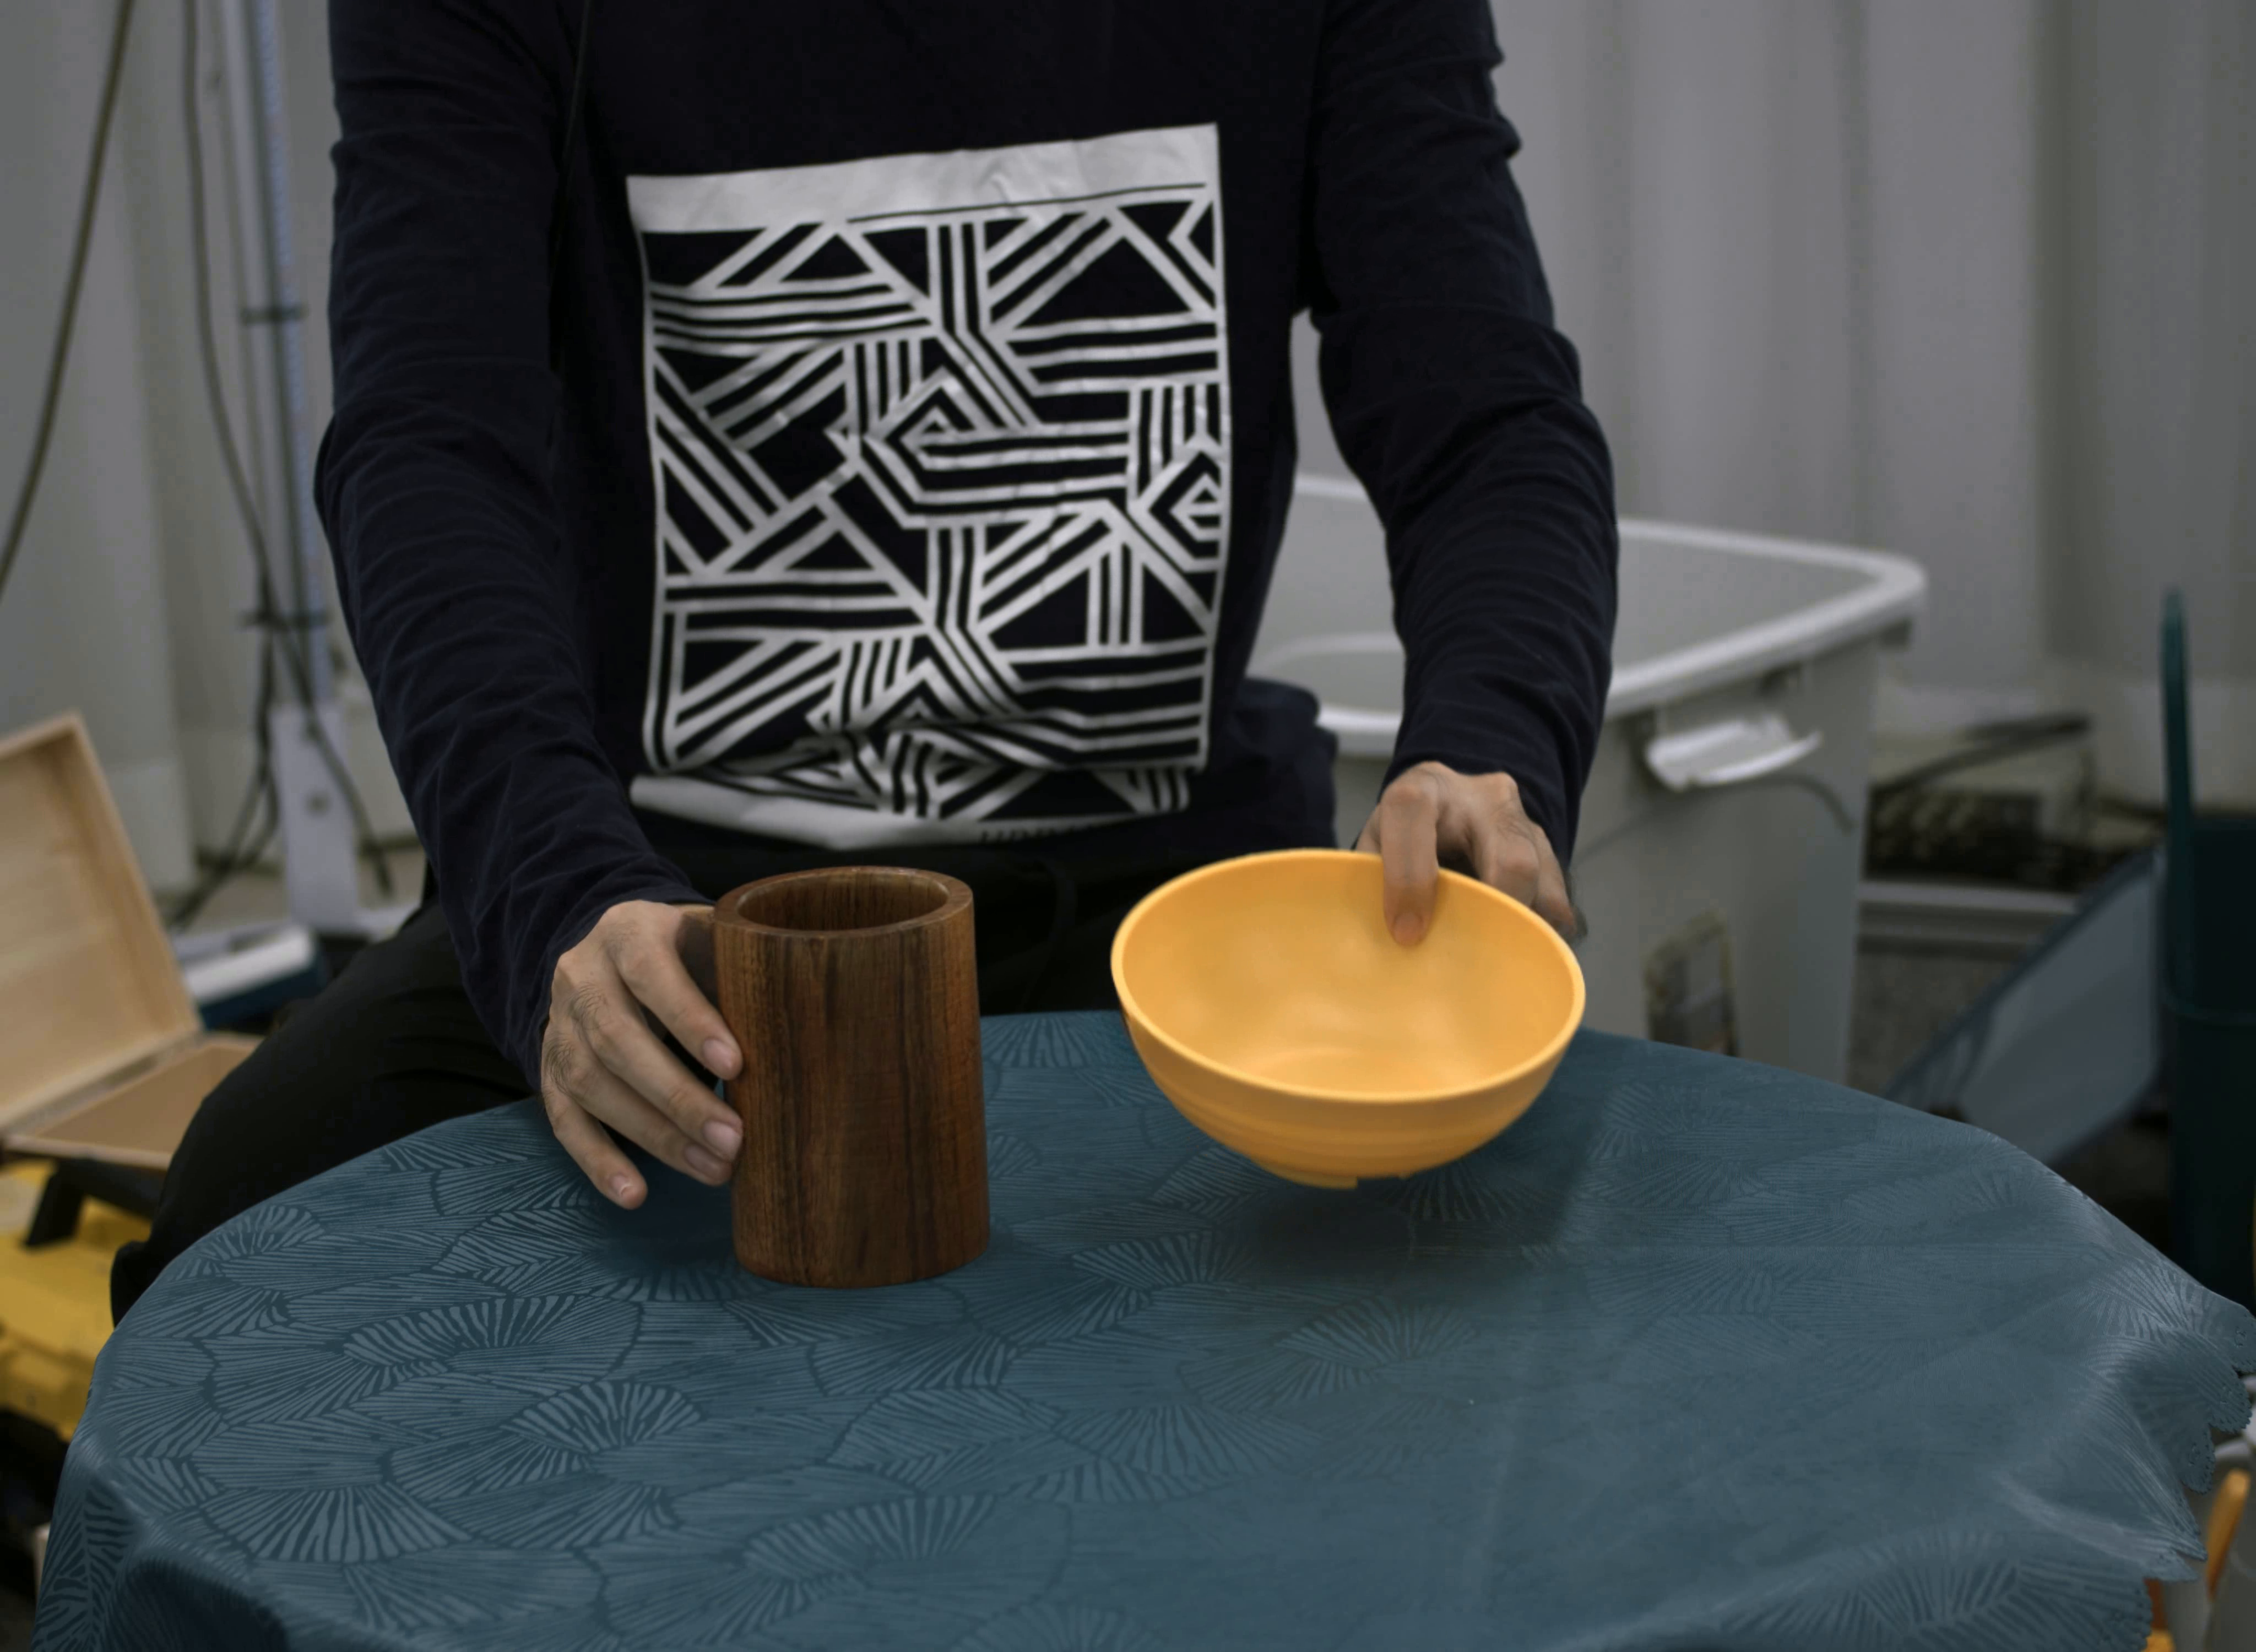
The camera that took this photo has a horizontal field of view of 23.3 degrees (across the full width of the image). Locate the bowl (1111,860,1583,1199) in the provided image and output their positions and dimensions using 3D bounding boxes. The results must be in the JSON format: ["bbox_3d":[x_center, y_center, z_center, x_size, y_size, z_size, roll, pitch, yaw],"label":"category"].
[{"bbox_3d":[0.065,0.072,1.677,0.145,0.059,0.147,3,29,-2],"label":"bowl"}]

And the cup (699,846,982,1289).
[{"bbox_3d":[-0.088,0.072,1.664,0.087,0.118,0.088,1,13,0],"label":"cup"}]
